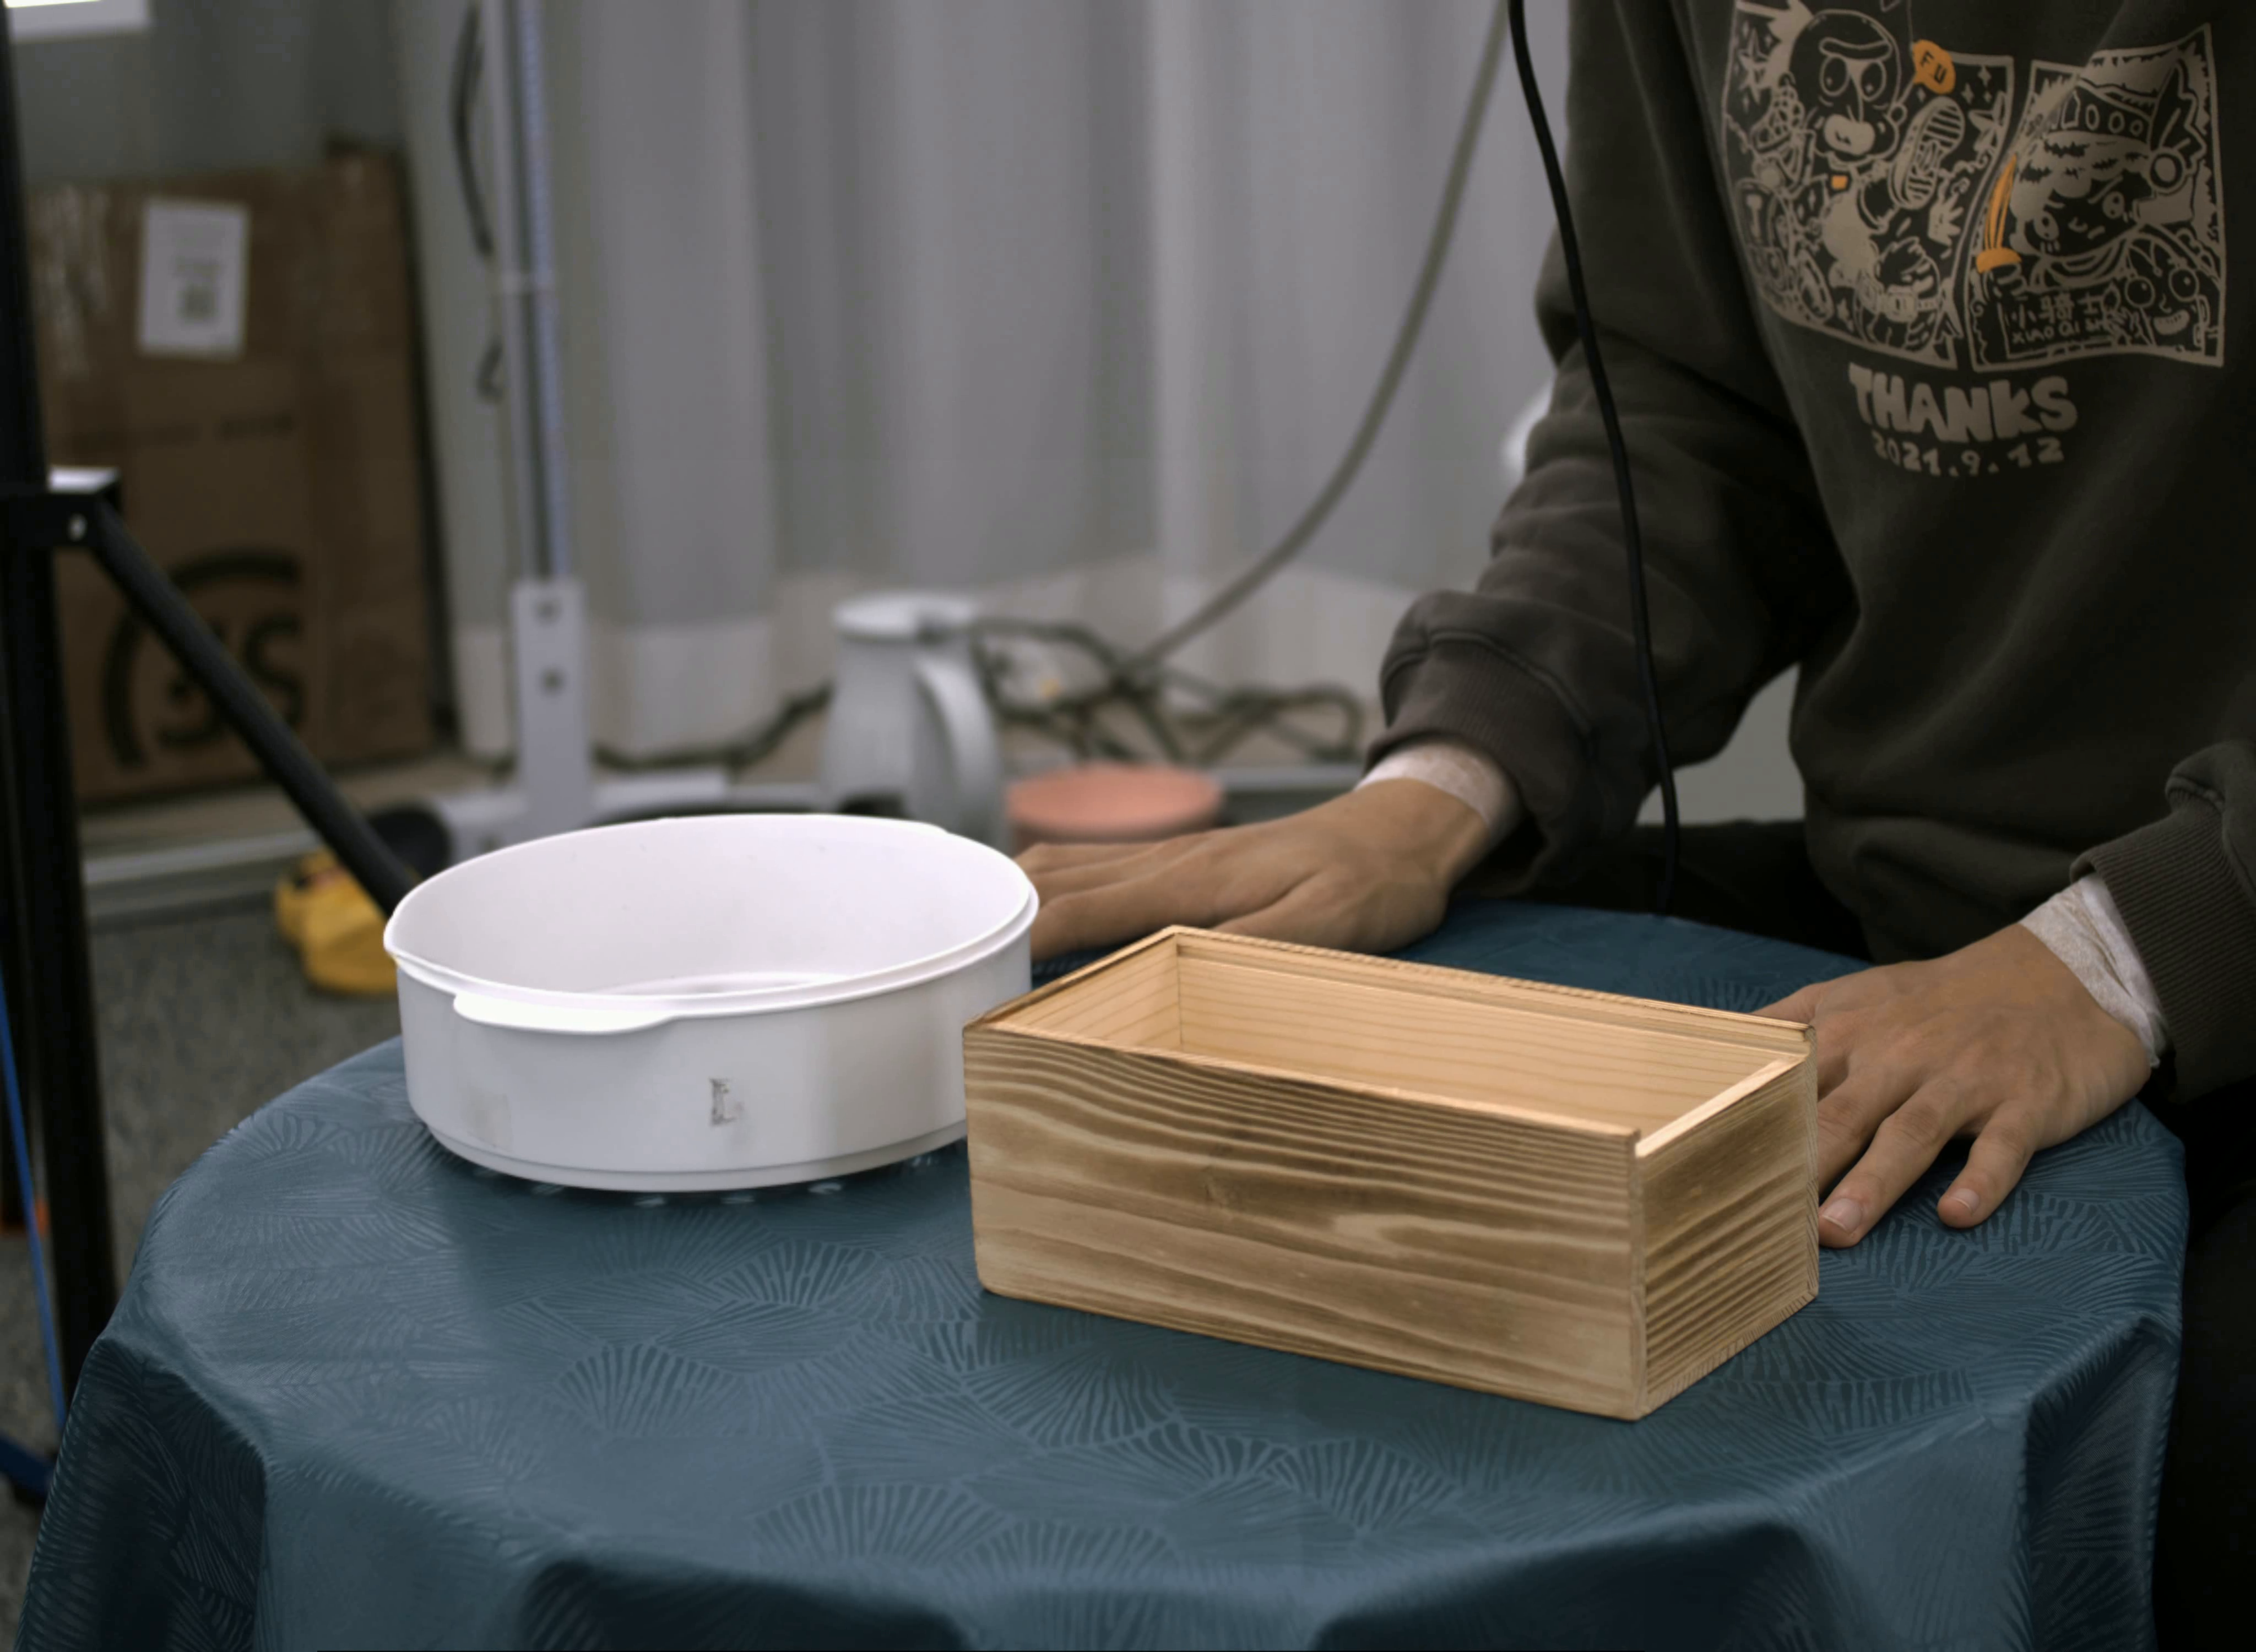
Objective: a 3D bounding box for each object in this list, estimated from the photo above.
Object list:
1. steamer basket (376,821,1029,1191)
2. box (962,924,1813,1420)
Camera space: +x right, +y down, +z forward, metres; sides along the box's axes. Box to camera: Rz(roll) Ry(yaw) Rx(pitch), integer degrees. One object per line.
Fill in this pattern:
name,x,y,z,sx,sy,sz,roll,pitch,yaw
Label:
steamer basket,-0.130,0.056,1.647,0.205,0.069,0.227,5,16,24
box,0.071,0.092,1.460,0.215,0.080,0.105,8,18,34
